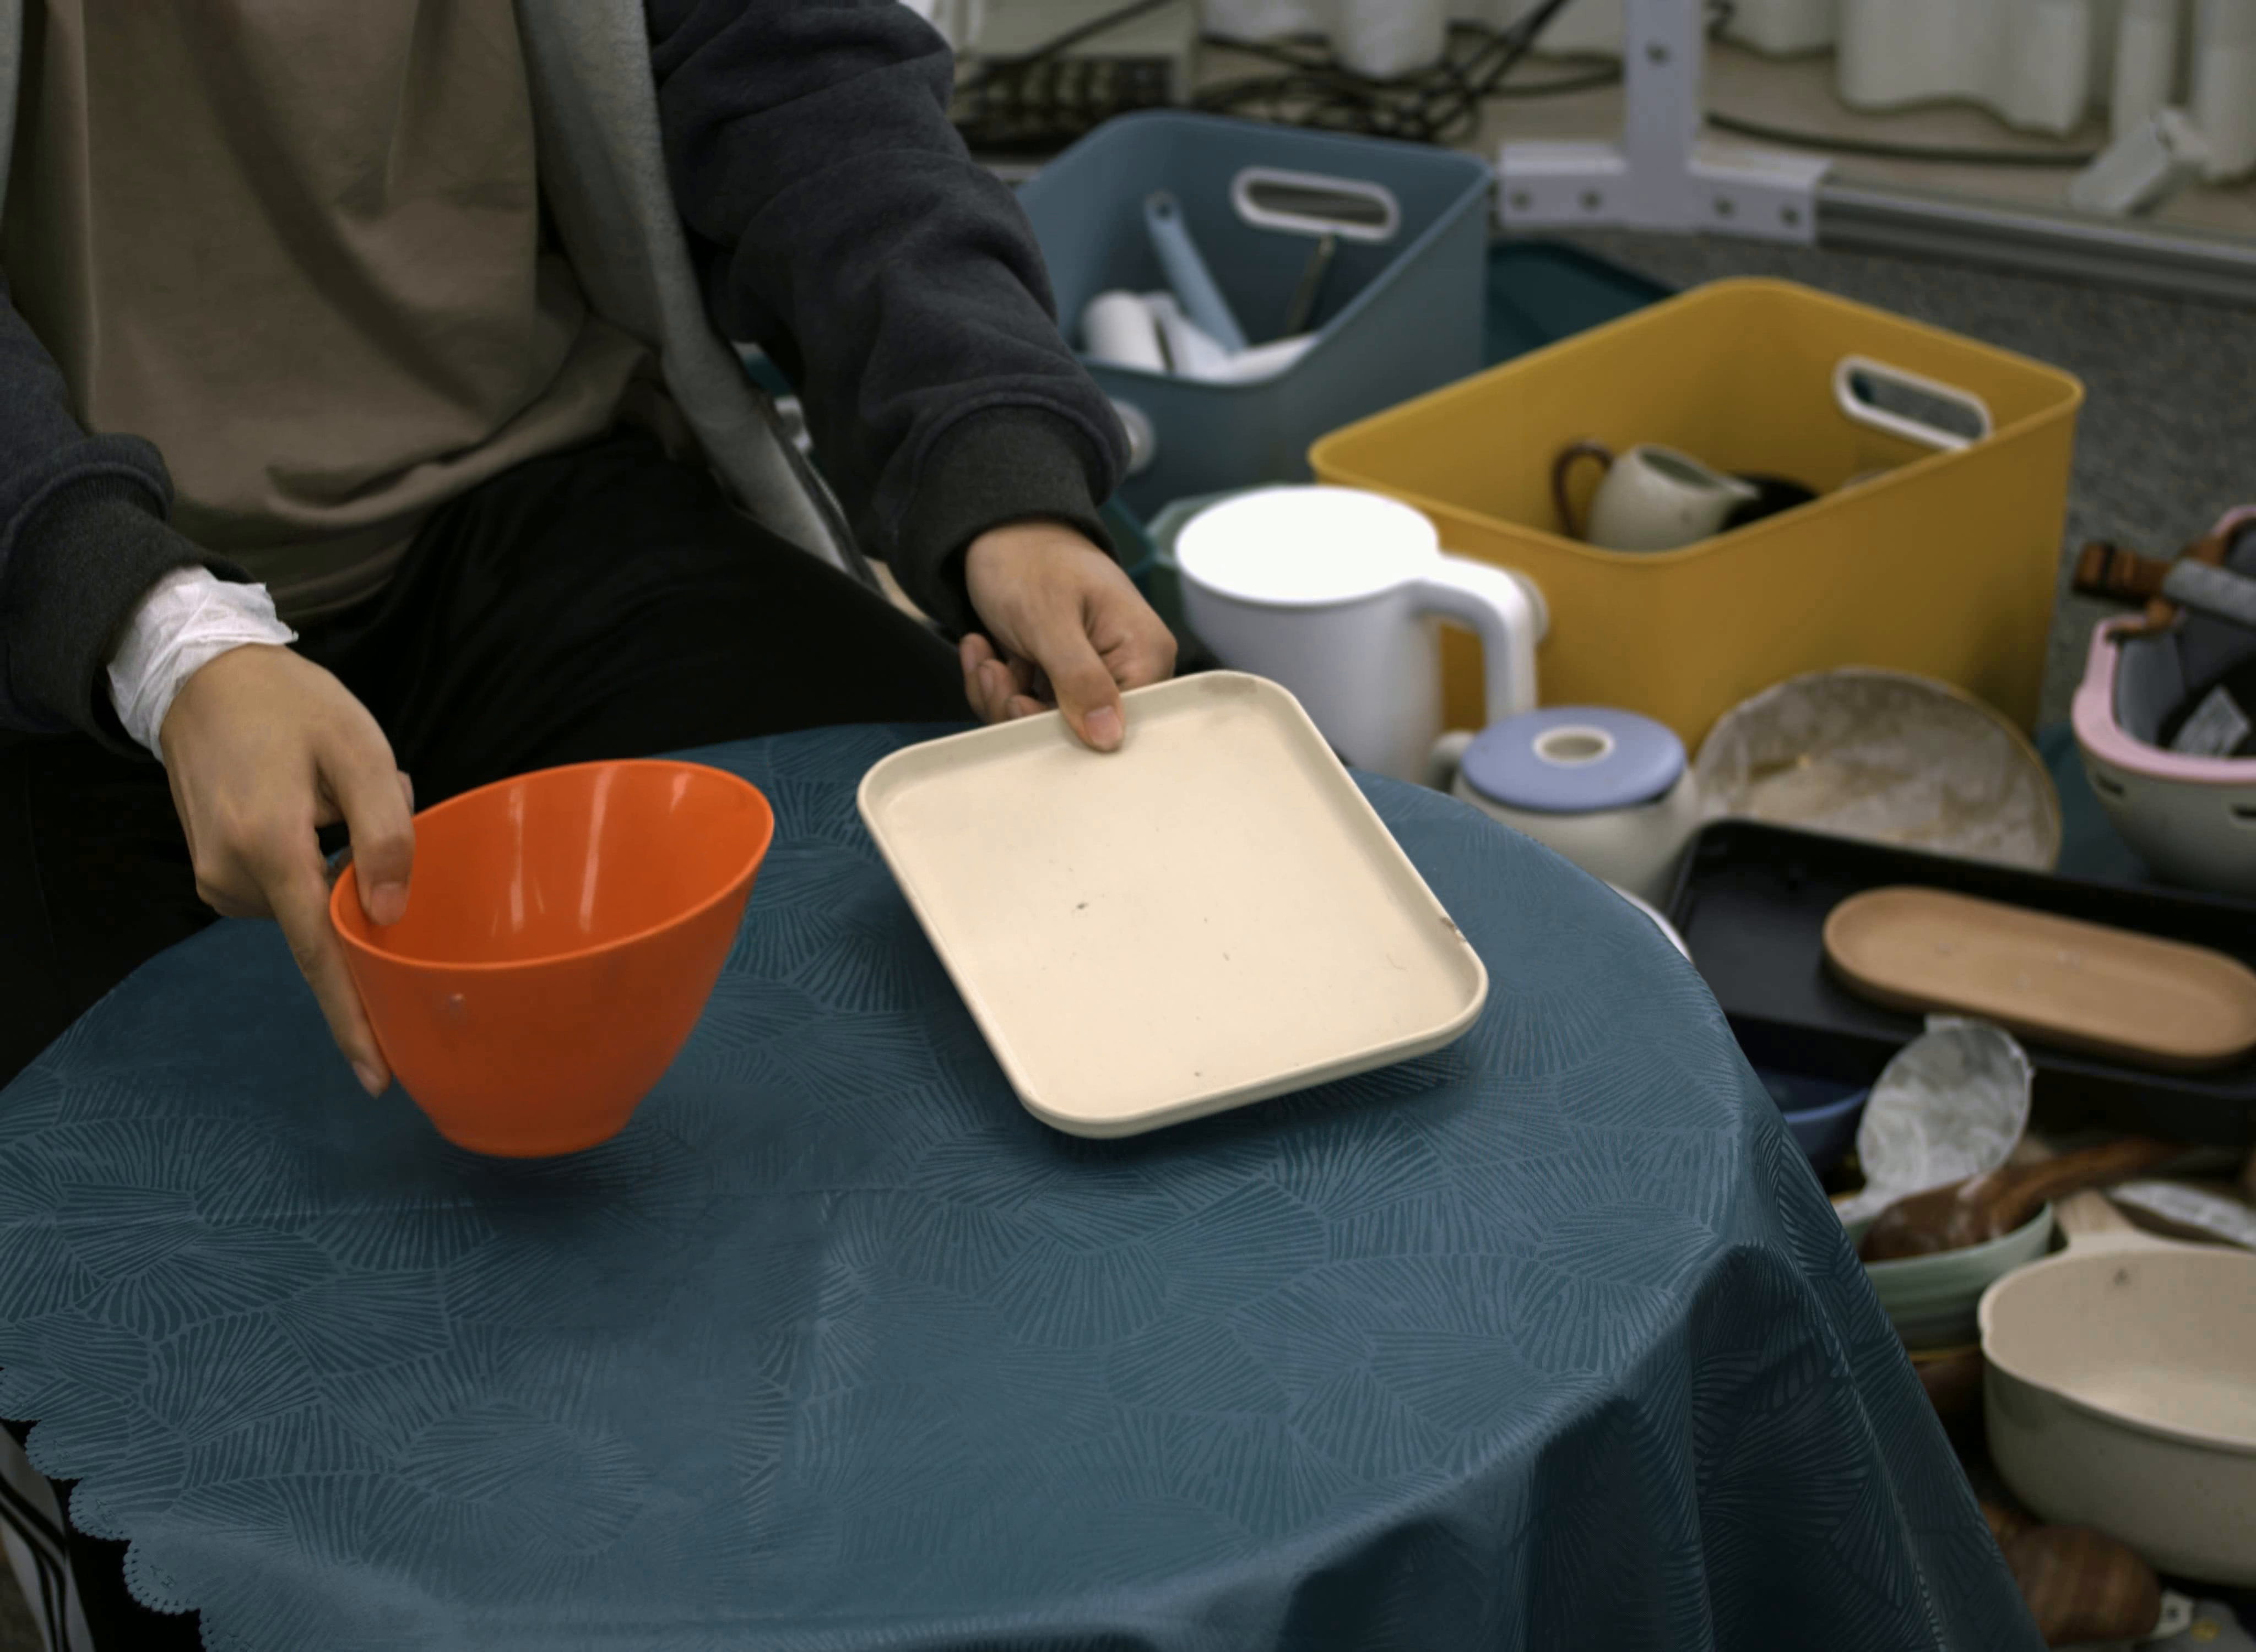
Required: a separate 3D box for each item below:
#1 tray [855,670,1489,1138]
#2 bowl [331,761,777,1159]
[{"bbox_3d":[0.013,0.026,1.974,0.171,0.017,0.242,-14,36,-14],"label":"tray"},{"bbox_3d":[-0.189,0.049,1.865,0.147,0.104,0.150,0,22,0],"label":"bowl"}]
